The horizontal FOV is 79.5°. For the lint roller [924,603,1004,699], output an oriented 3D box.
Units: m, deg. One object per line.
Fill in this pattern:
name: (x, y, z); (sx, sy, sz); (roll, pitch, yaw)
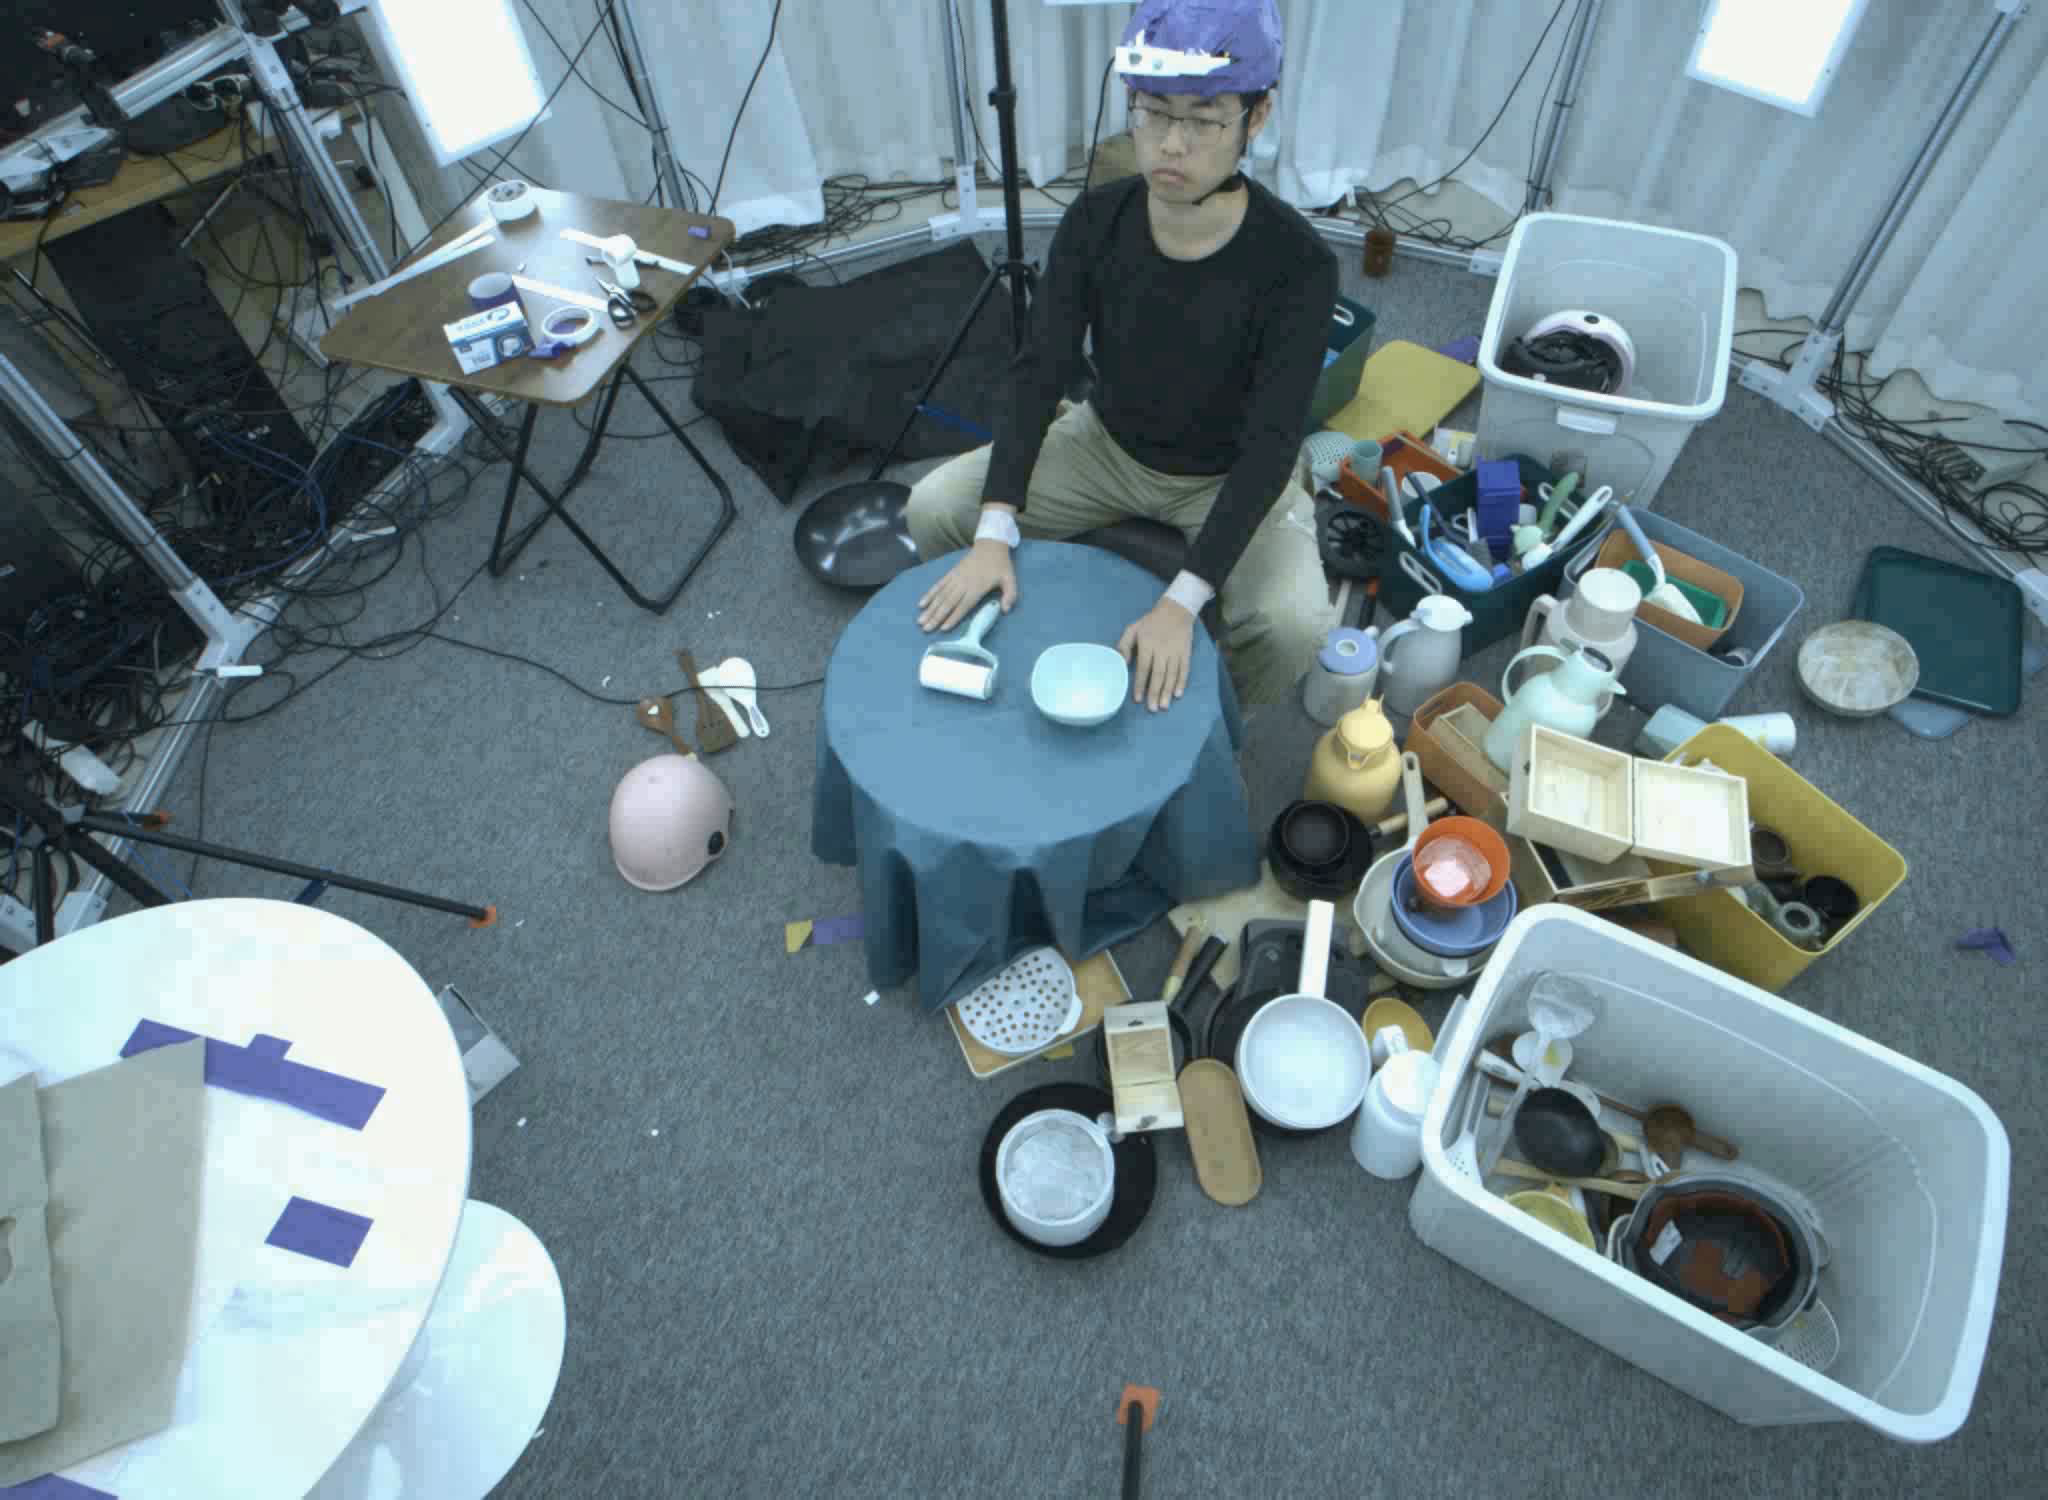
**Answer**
lint roller: (-0.070, -0.163, 1.878); (0.115, 0.049, 0.197); (13, 55, 12)

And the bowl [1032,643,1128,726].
bowl: (0.084, -0.087, 1.812); (0.151, 0.059, 0.150); (-1, 56, 3)
